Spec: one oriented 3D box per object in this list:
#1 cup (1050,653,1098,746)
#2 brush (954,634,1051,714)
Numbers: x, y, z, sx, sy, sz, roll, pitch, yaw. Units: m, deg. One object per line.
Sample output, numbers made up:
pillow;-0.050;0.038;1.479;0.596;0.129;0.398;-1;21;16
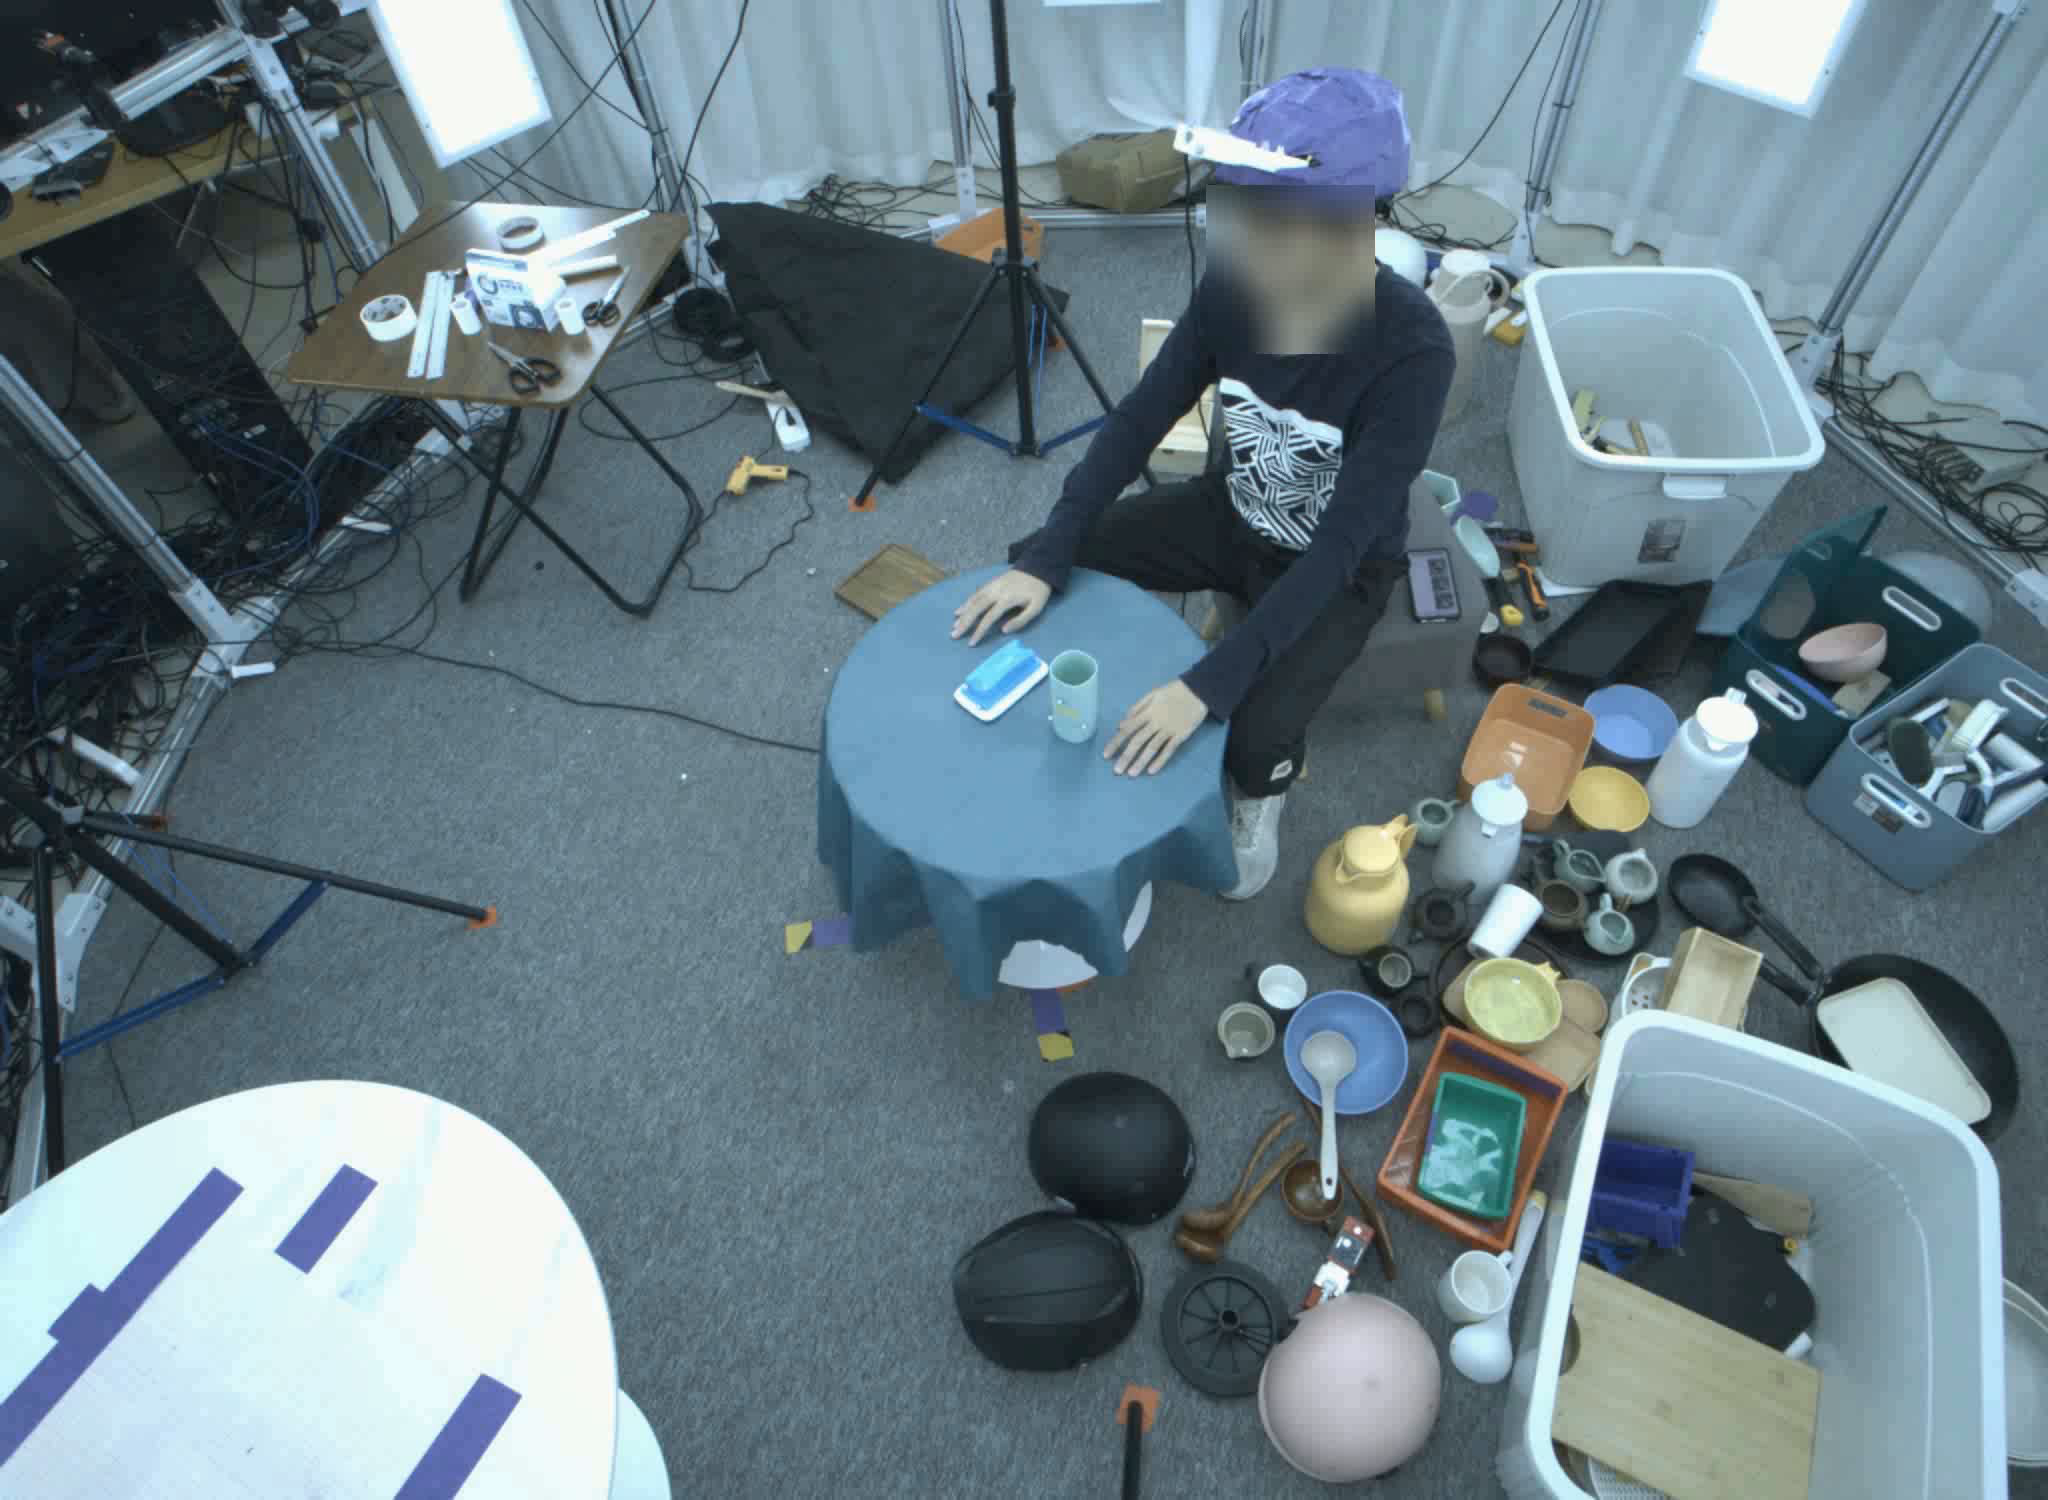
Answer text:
cup;0.073;-0.072;1.754;0.066;0.134;0.066;-1;53;3
brush;-0.032;-0.121;1.830;0.145;0.056;0.082;-40;65;-20
